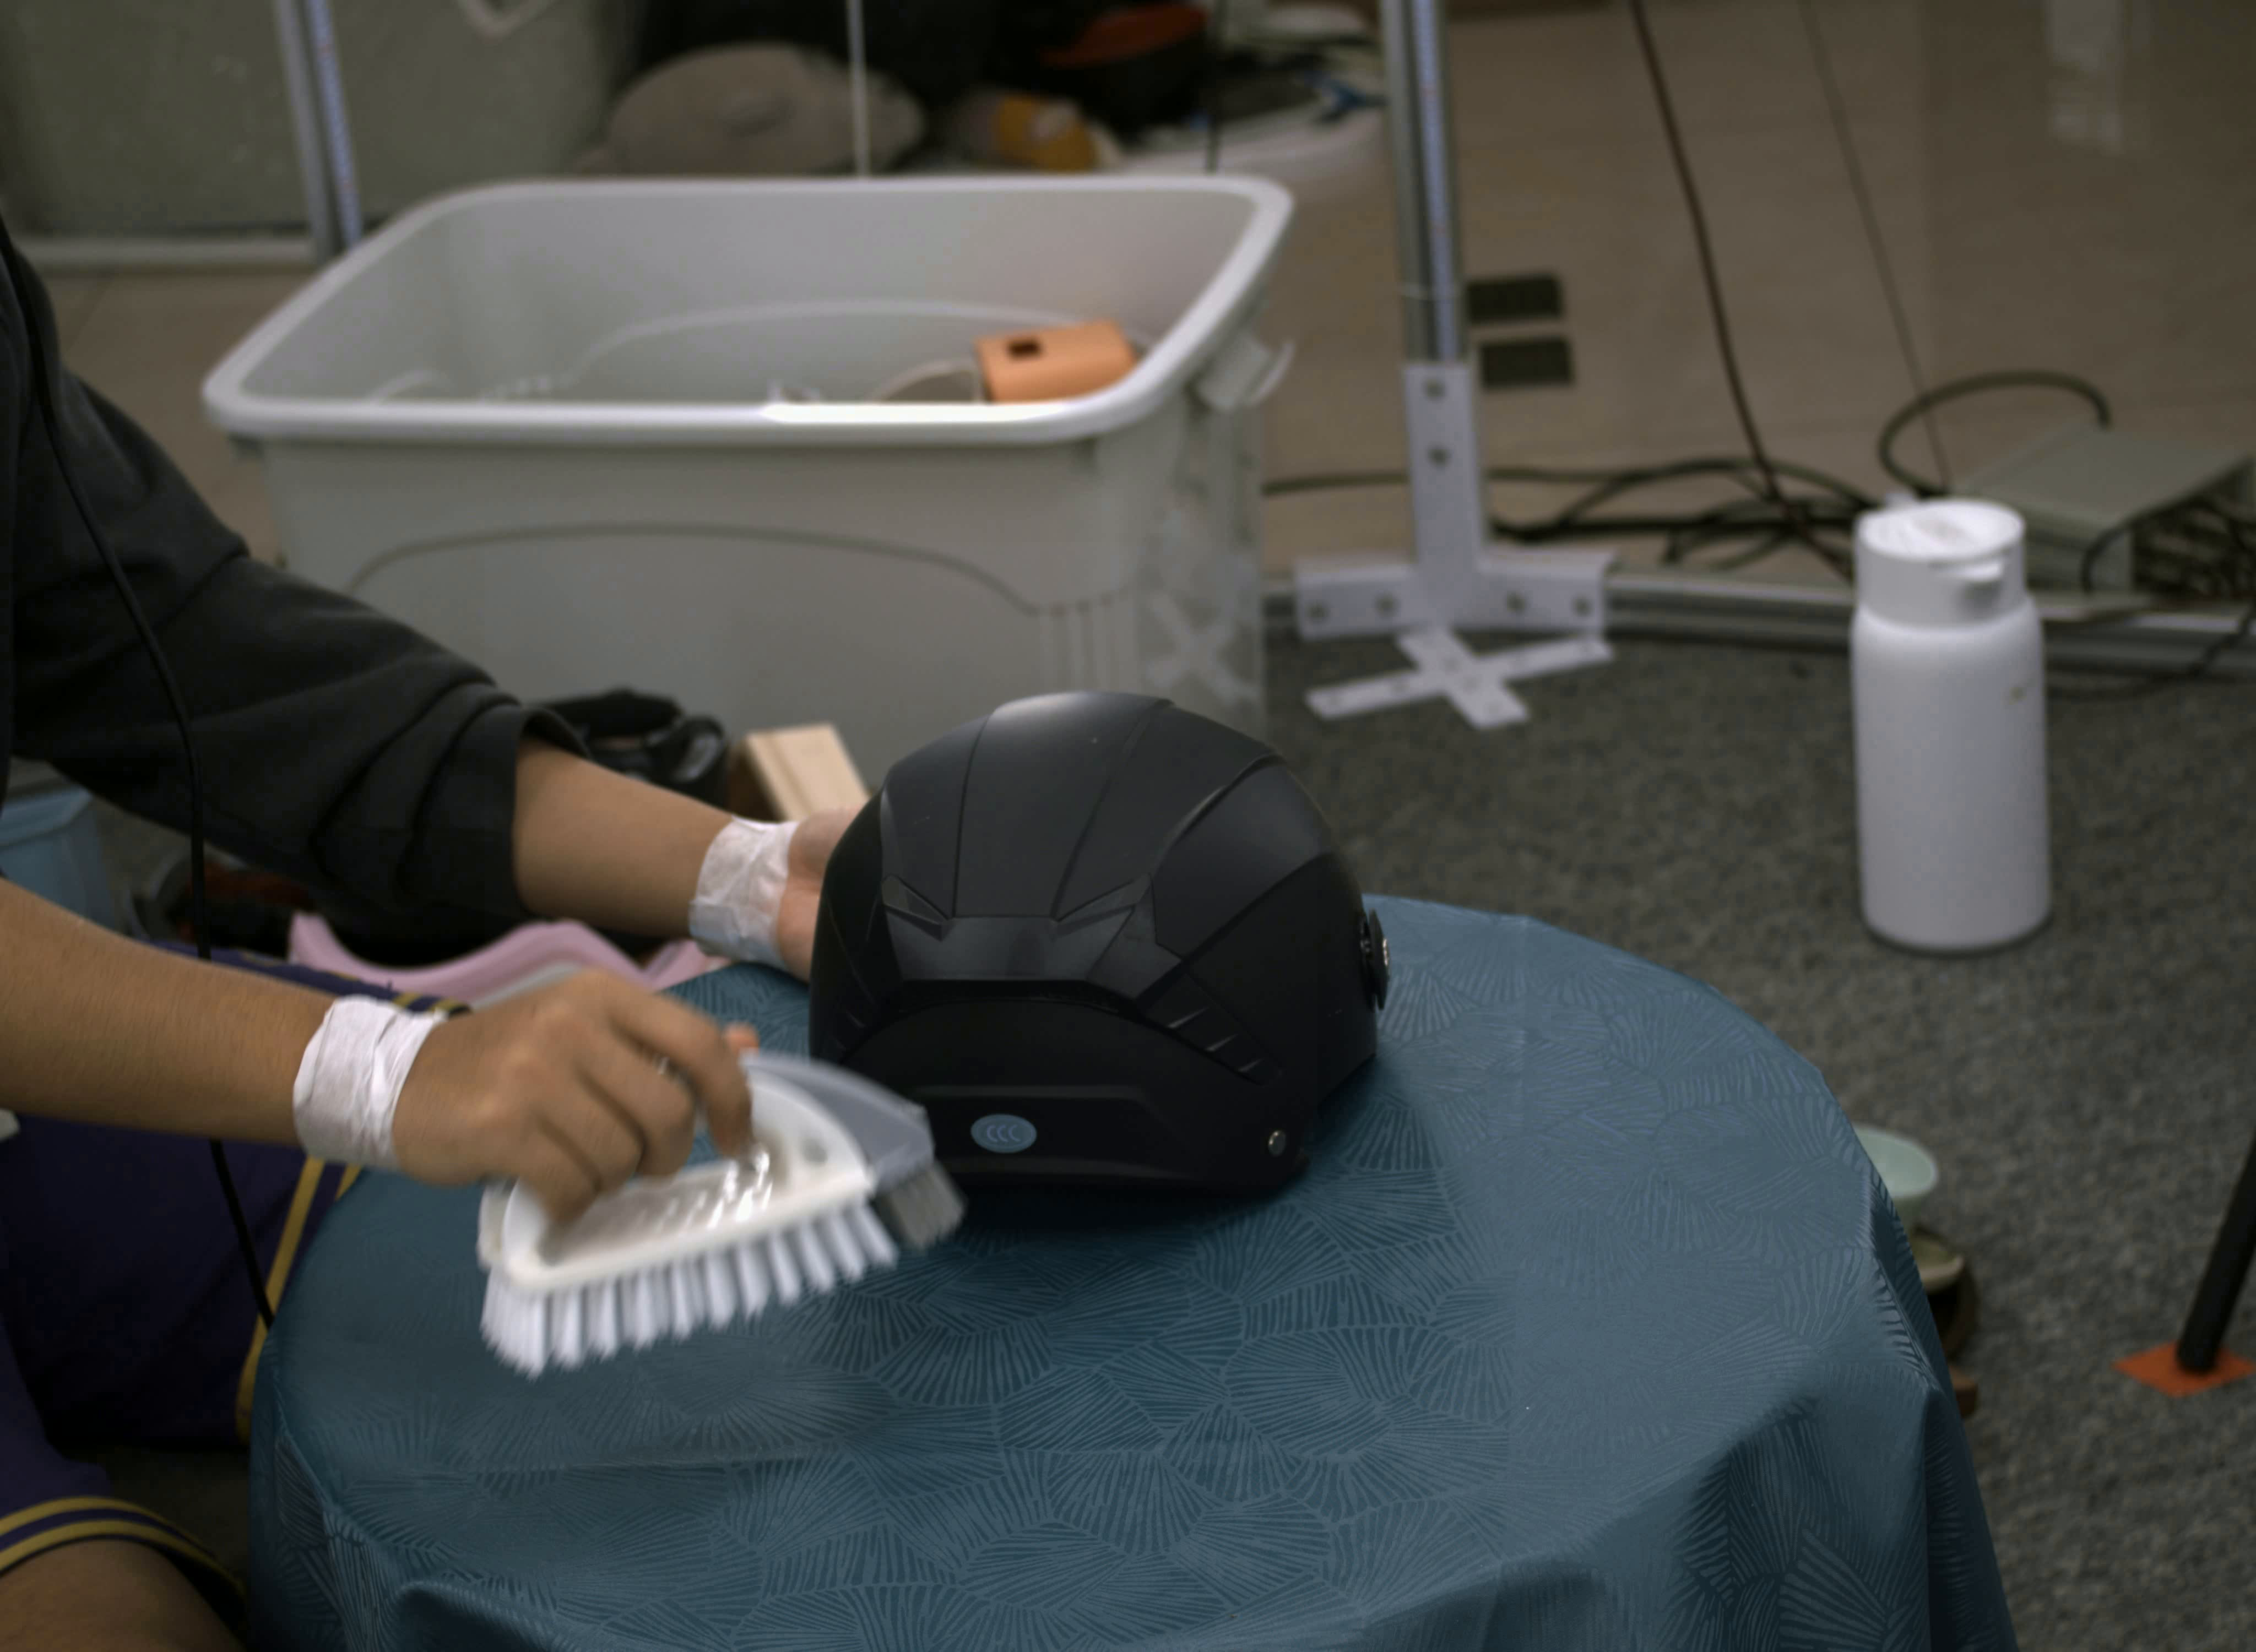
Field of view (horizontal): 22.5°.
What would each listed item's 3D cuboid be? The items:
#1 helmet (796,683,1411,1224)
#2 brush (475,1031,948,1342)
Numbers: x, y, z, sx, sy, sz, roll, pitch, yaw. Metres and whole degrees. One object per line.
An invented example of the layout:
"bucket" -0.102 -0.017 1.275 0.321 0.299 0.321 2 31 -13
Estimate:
"helmet" -0.016 0.033 2.187 0.246 0.175 0.272 1 31 15
"brush" -0.144 0.114 1.976 0.175 0.095 0.061 -13 22 -24
